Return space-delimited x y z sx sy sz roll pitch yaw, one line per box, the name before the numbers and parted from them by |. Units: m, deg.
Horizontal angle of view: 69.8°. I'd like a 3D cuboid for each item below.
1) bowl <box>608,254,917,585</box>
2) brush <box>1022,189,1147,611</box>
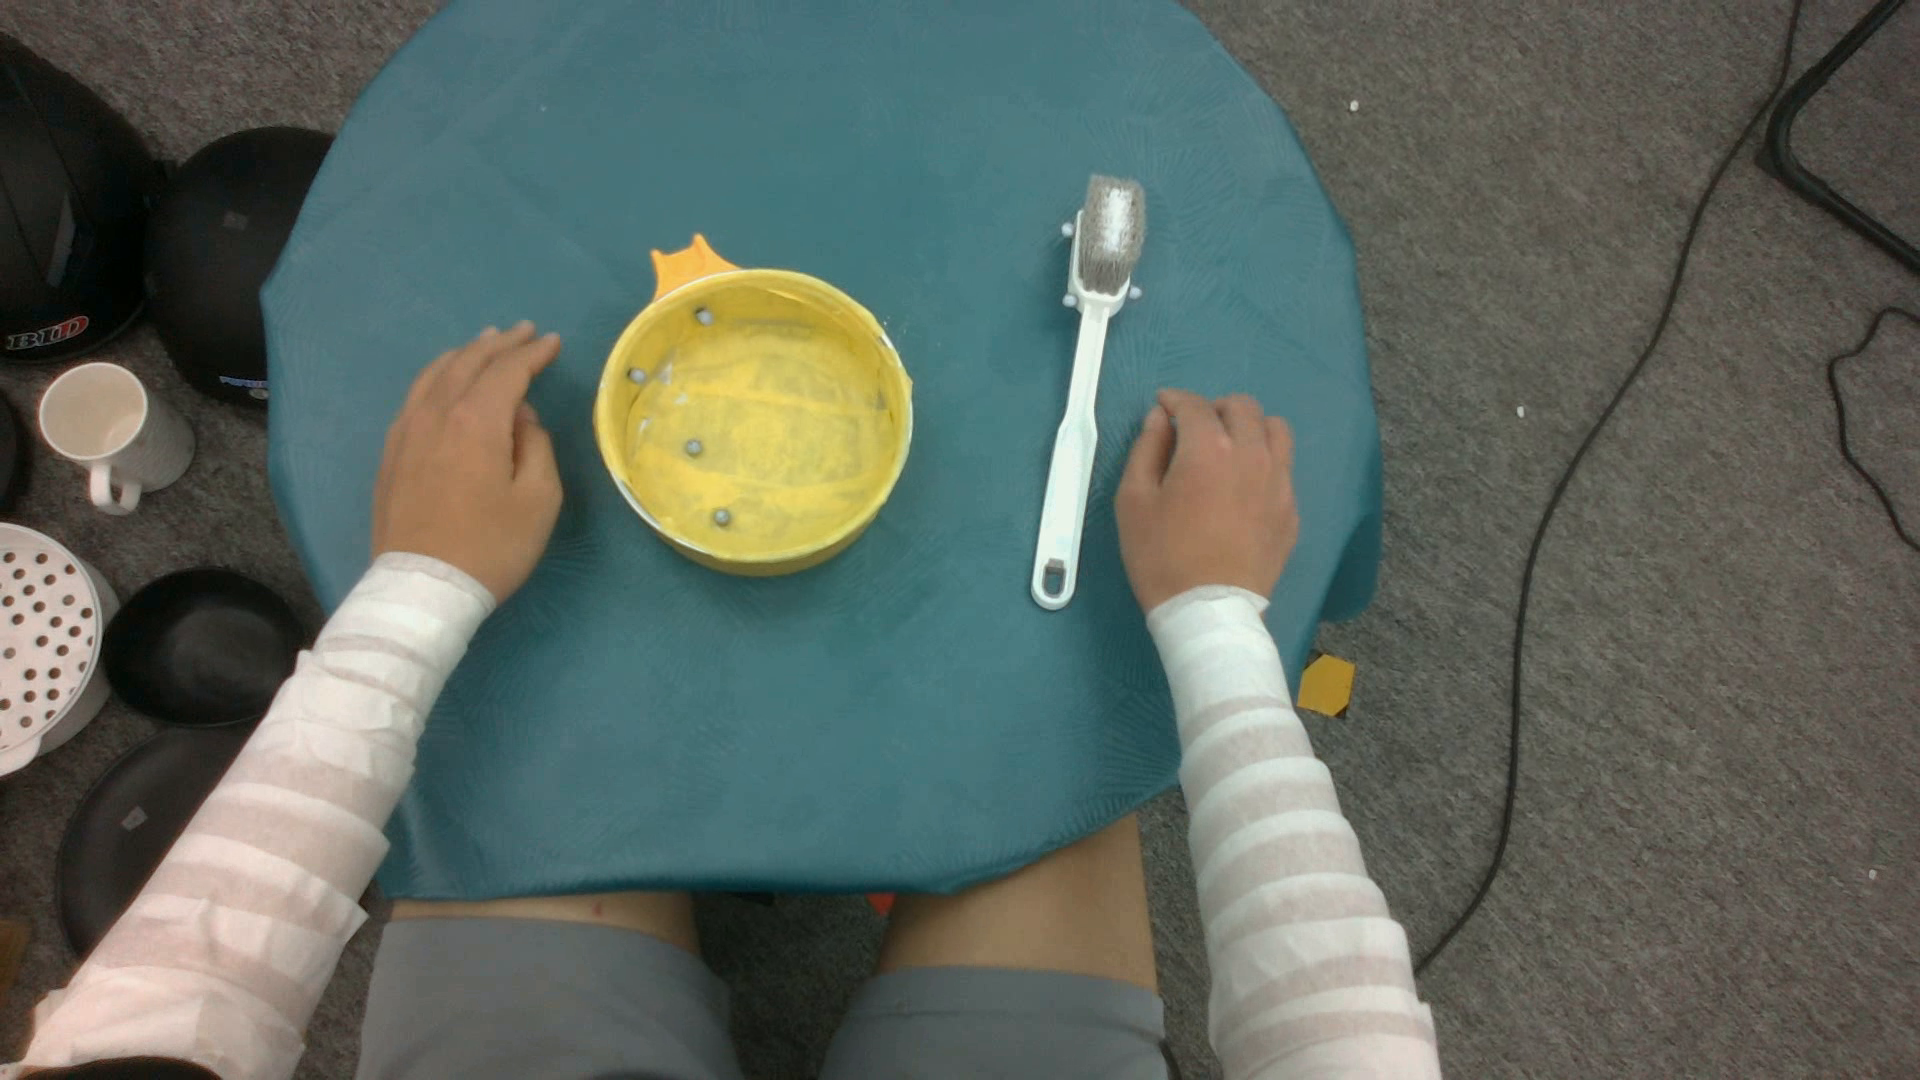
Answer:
bowl | -0.105 -0.063 0.720 0.153 0.074 0.179 -28 78 -9
brush | 0.068 -0.082 0.755 0.034 0.050 0.244 13 73 -4
